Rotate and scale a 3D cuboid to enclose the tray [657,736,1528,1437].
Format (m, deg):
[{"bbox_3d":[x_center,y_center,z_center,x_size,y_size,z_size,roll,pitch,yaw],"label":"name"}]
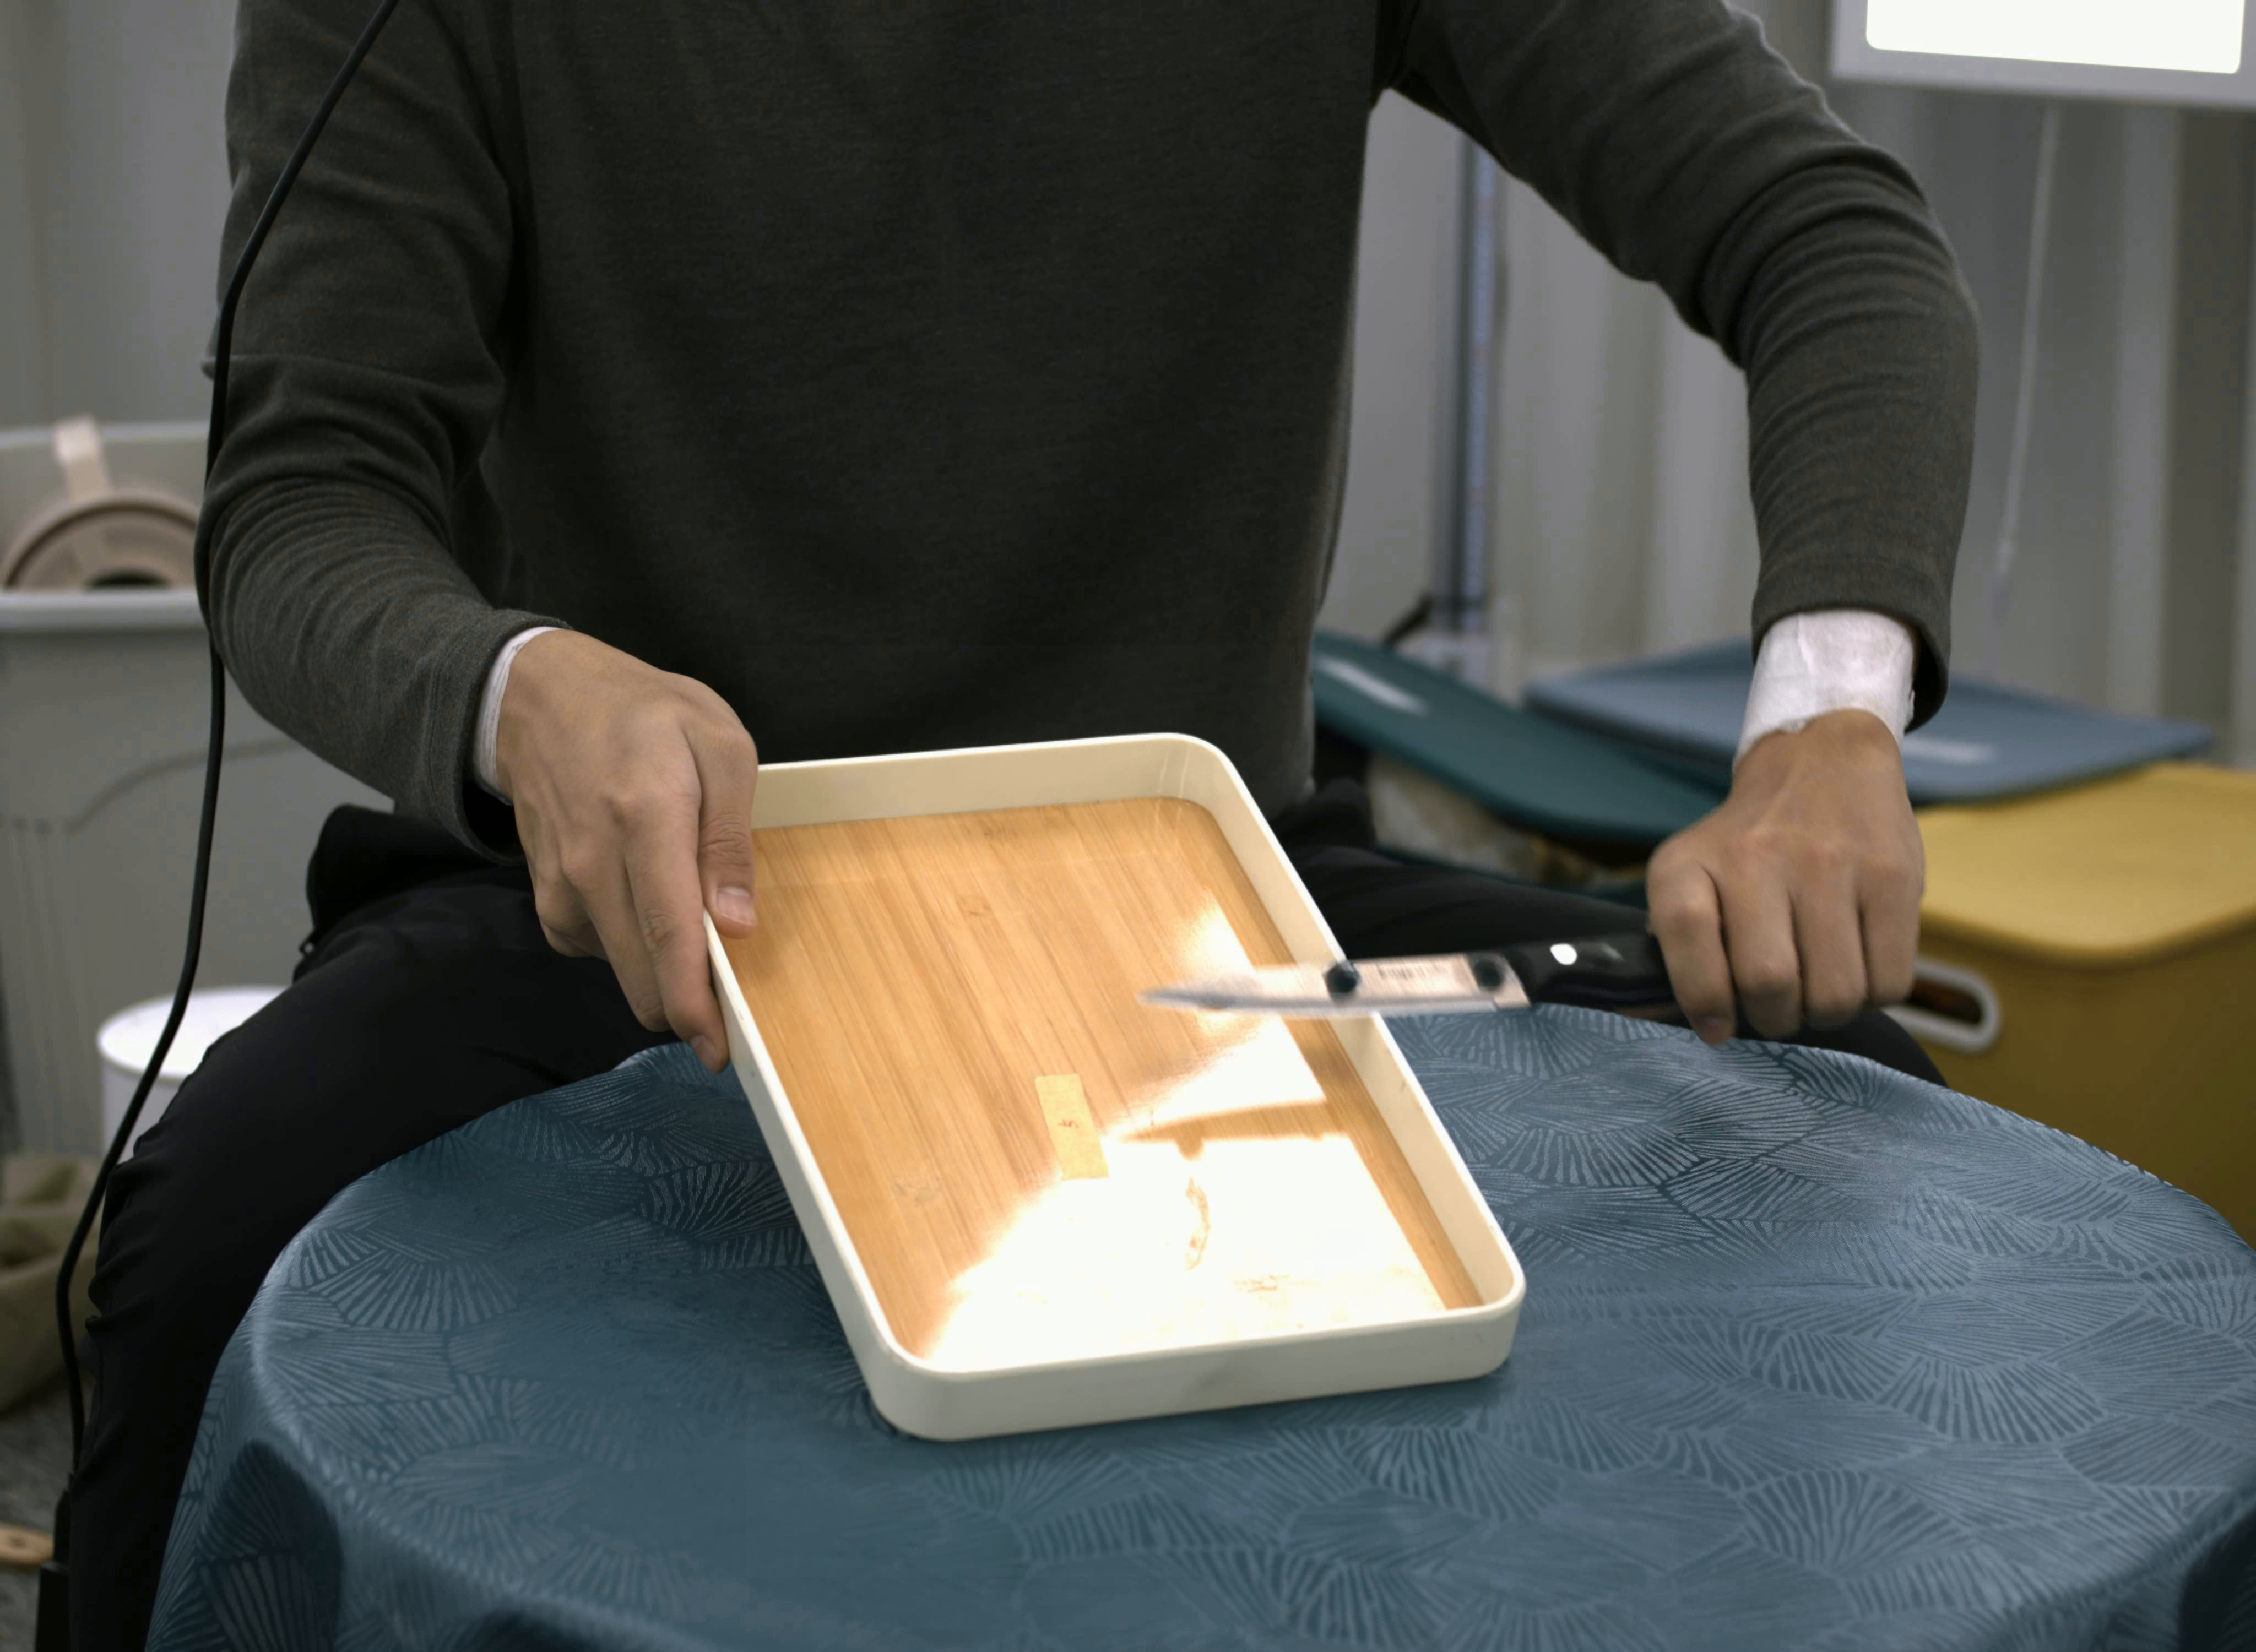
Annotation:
[{"bbox_3d":[-0.017,0.069,1.556,0.192,0.027,0.296,-4,35,-19],"label":"tray"}]

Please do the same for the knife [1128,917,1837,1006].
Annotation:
[{"bbox_3d":[0.109,0.042,1.602,0.239,0.016,0.024,-3,42,-23],"label":"knife"}]
